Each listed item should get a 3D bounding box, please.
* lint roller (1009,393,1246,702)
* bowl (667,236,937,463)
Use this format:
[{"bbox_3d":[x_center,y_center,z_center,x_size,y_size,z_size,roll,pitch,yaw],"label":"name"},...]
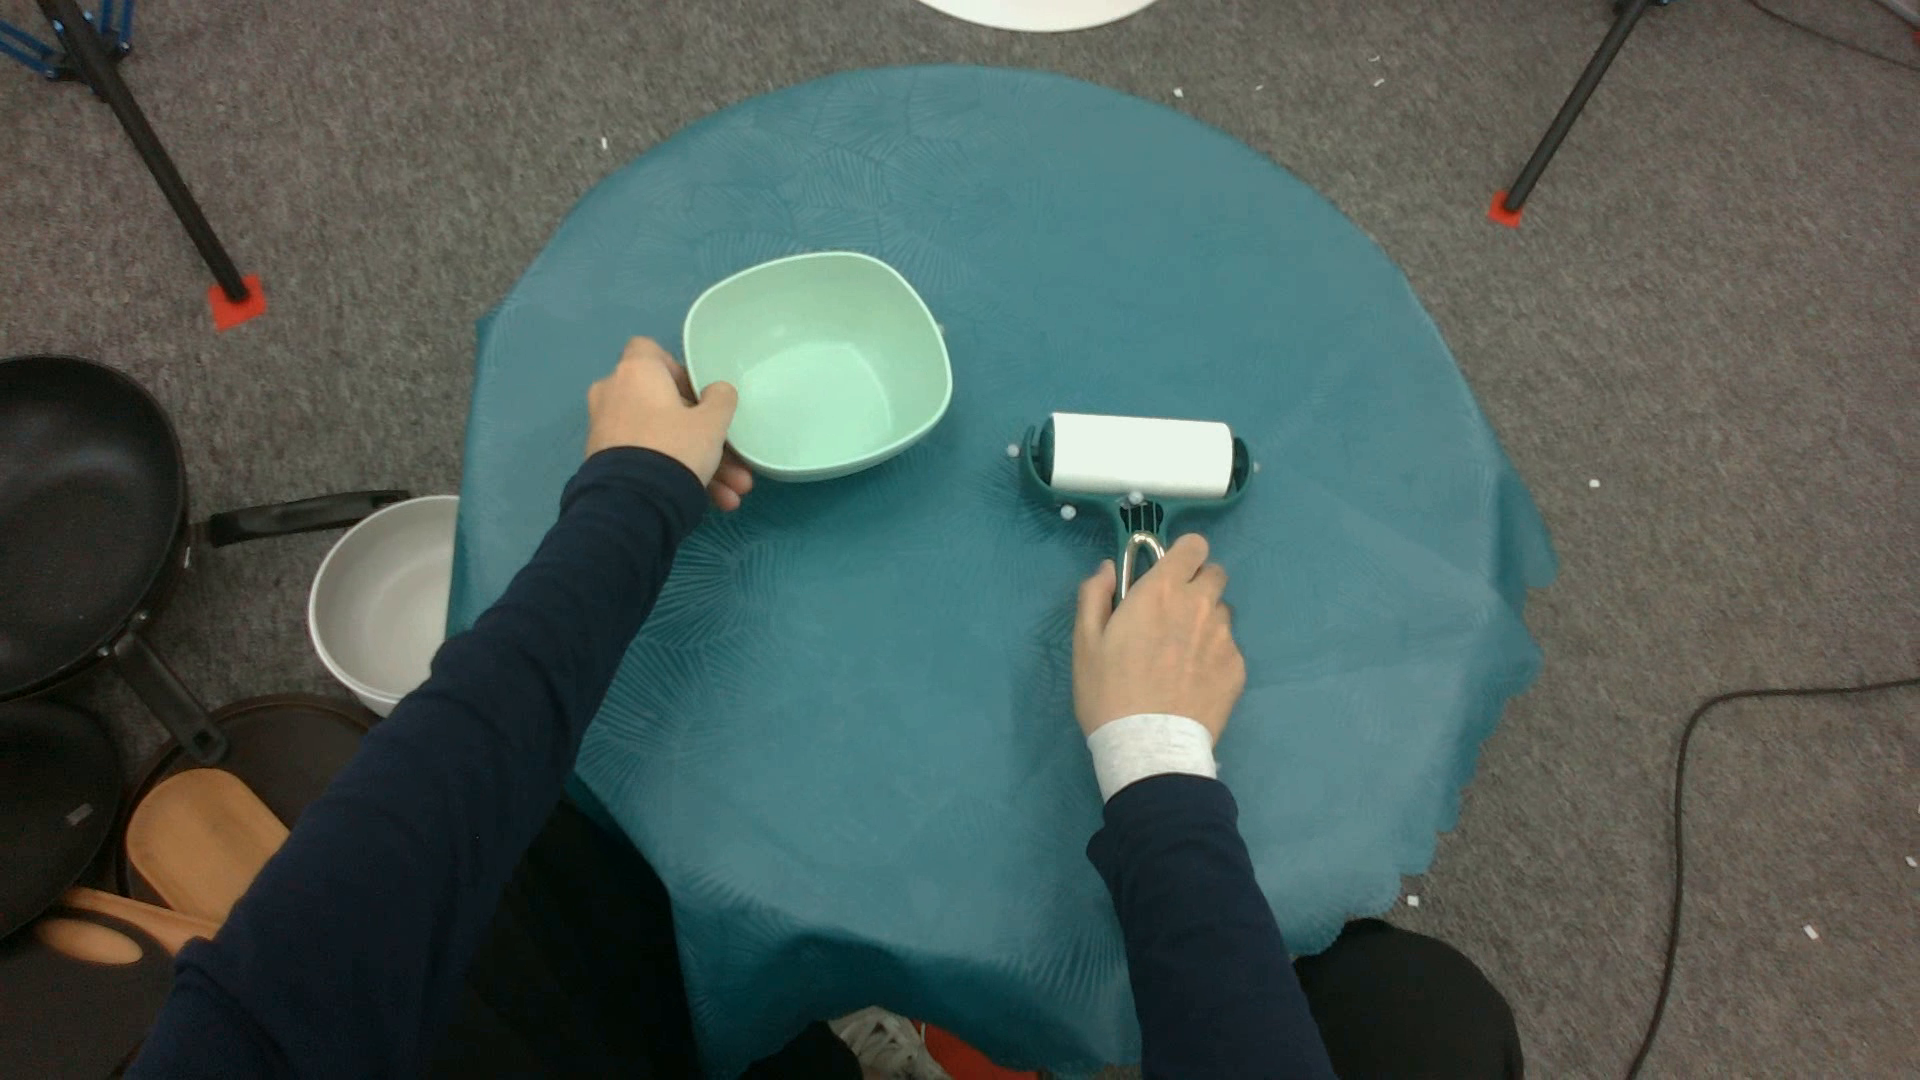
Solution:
[{"bbox_3d":[0.095,-0.003,0.739,0.134,0.048,0.181,2,54,-6],"label":"lint roller"},{"bbox_3d":[-0.088,-0.097,0.768,0.151,0.058,0.152,3,60,-6],"label":"bowl"}]
